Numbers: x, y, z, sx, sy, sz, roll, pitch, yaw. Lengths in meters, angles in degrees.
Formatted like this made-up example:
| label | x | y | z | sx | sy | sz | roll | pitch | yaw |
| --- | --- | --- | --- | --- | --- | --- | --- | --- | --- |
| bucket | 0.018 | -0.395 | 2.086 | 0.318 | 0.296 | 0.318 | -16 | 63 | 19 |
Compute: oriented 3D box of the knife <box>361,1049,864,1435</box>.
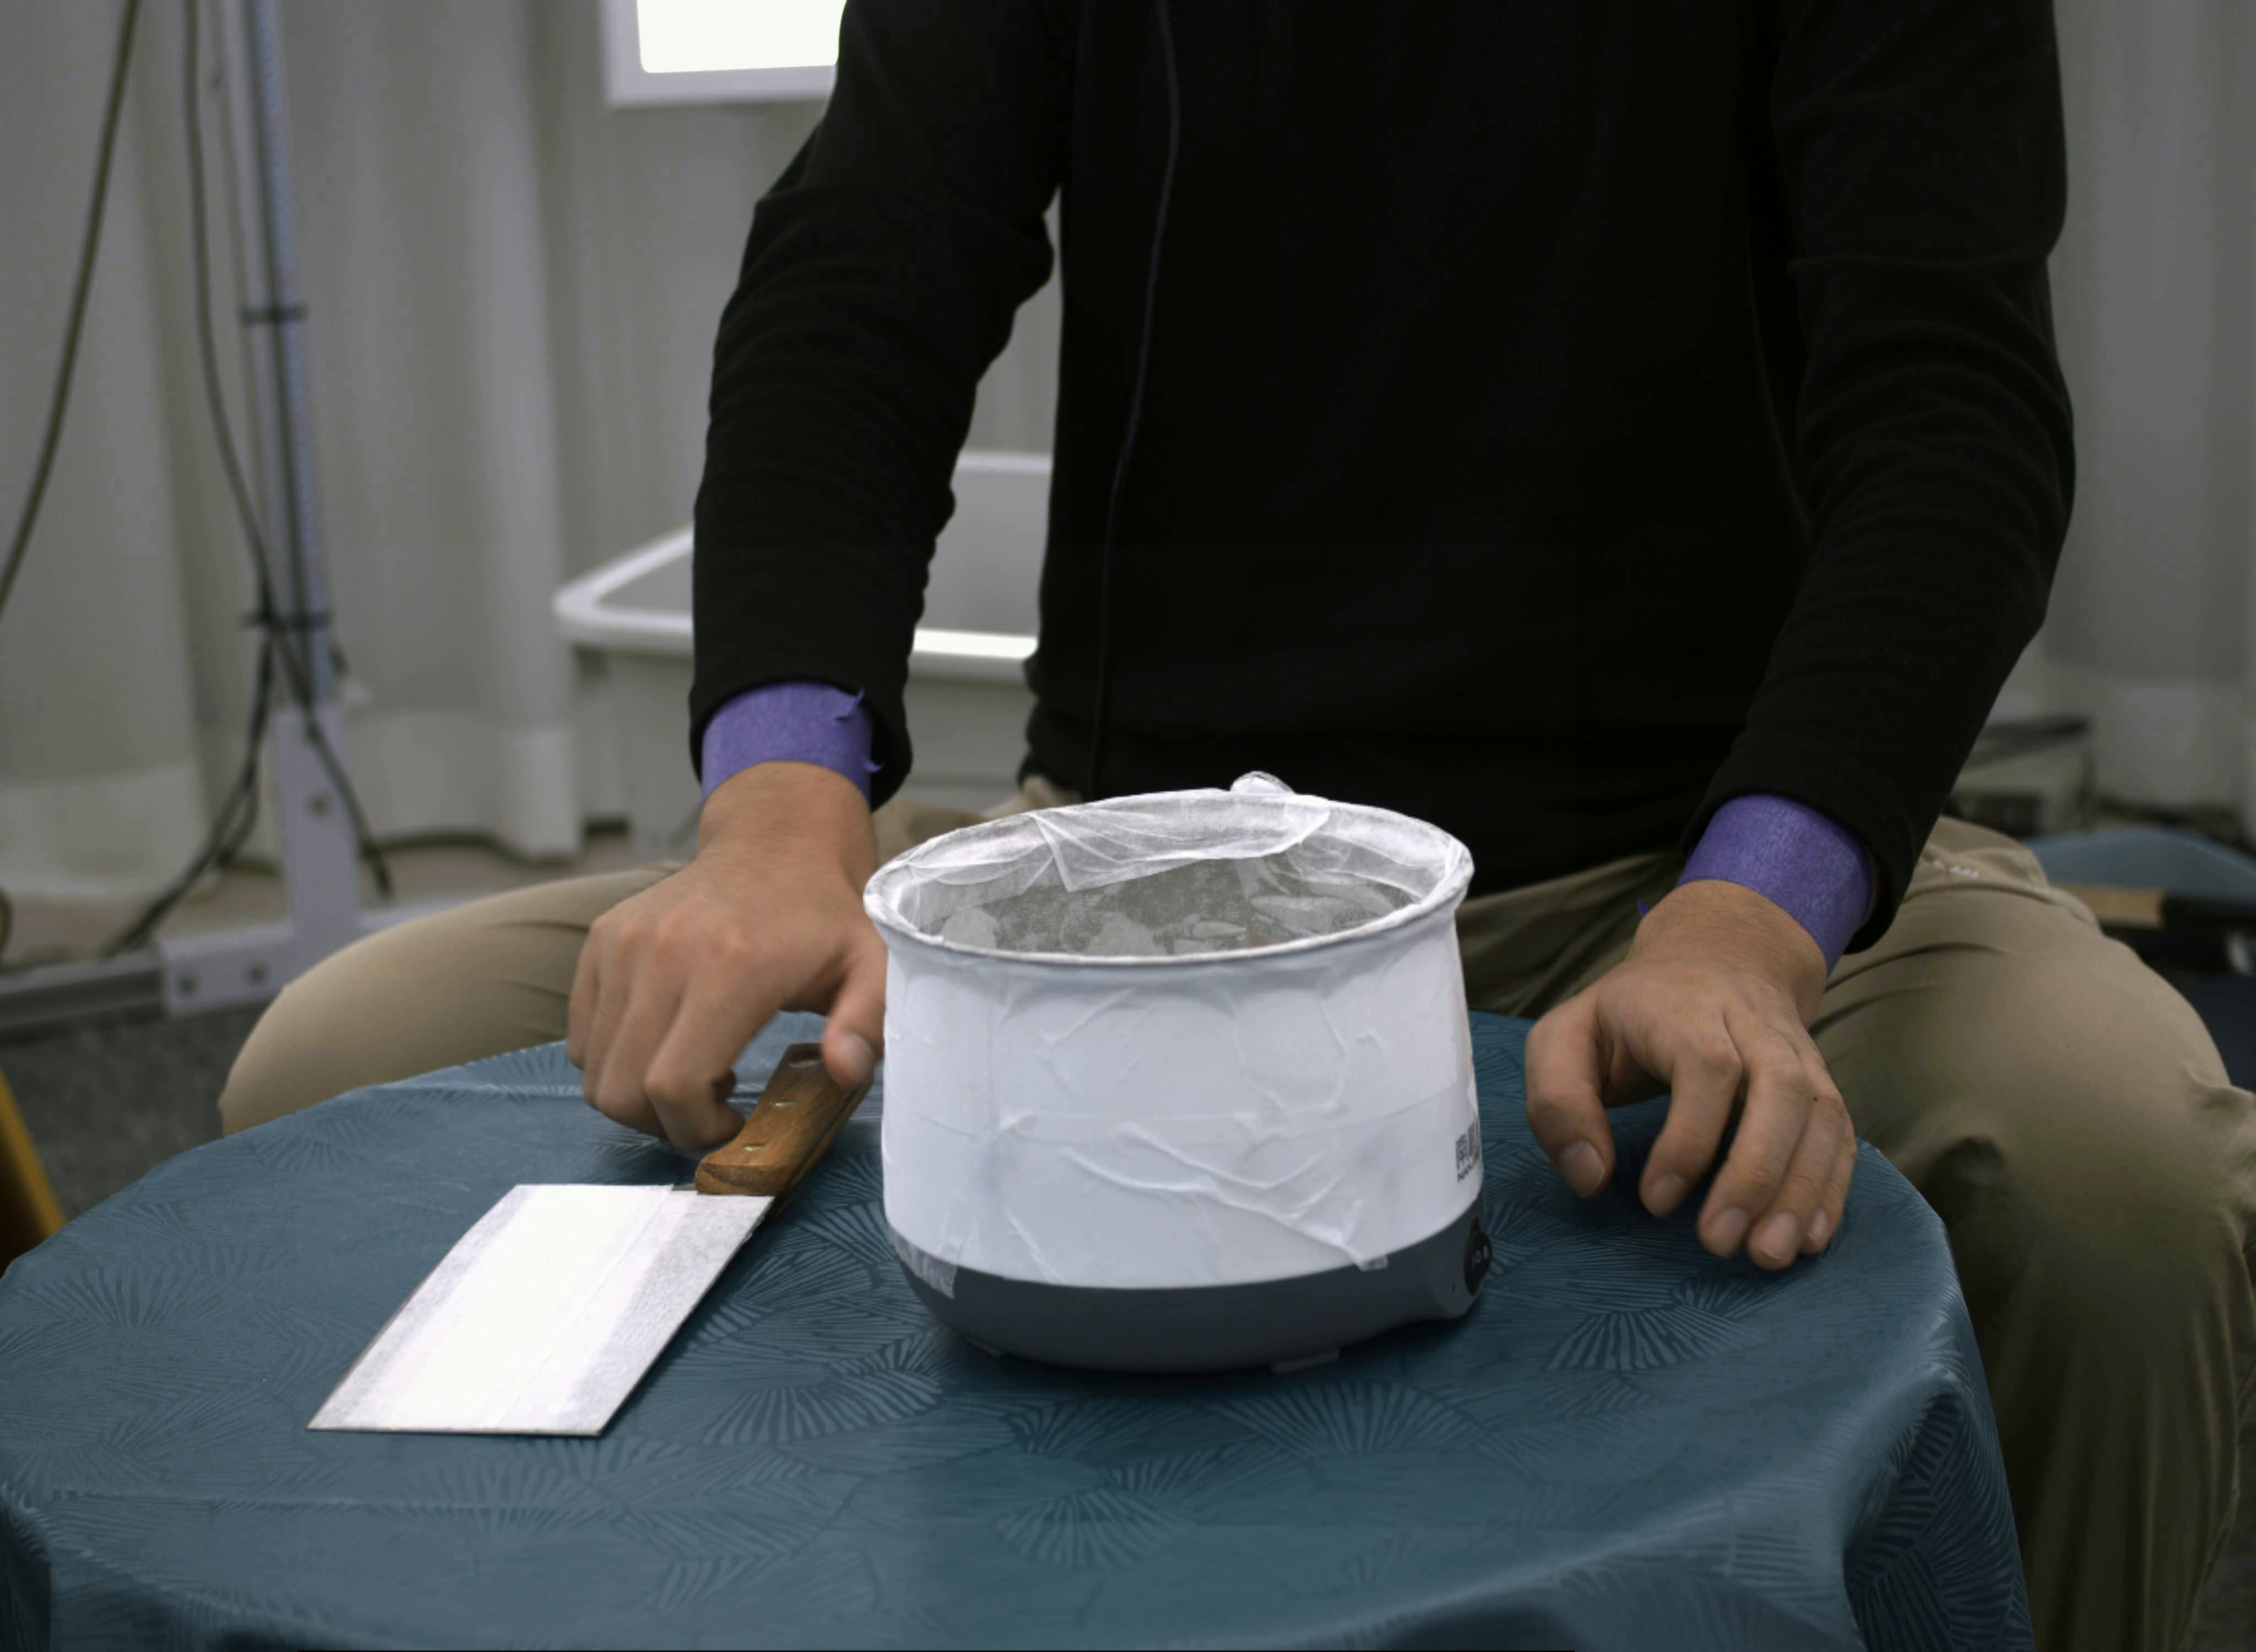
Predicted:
| label | x | y | z | sx | sy | sz | roll | pitch | yaw |
| --- | --- | --- | --- | --- | --- | --- | --- | --- | --- |
| knife | -0.156 | 0.126 | 1.677 | 0.093 | 0.021 | 0.307 | 1 | 17 | 13 |

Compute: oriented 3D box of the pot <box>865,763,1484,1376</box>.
| label | x | y | z | sx | sy | sz | roll | pitch | yaw |
| --- | --- | --- | --- | --- | --- | --- | --- | --- | --- |
| pot | 0.022 | 0.066 | 1.622 | 0.178 | 0.136 | 0.235 | 2 | 16 | 15 |
